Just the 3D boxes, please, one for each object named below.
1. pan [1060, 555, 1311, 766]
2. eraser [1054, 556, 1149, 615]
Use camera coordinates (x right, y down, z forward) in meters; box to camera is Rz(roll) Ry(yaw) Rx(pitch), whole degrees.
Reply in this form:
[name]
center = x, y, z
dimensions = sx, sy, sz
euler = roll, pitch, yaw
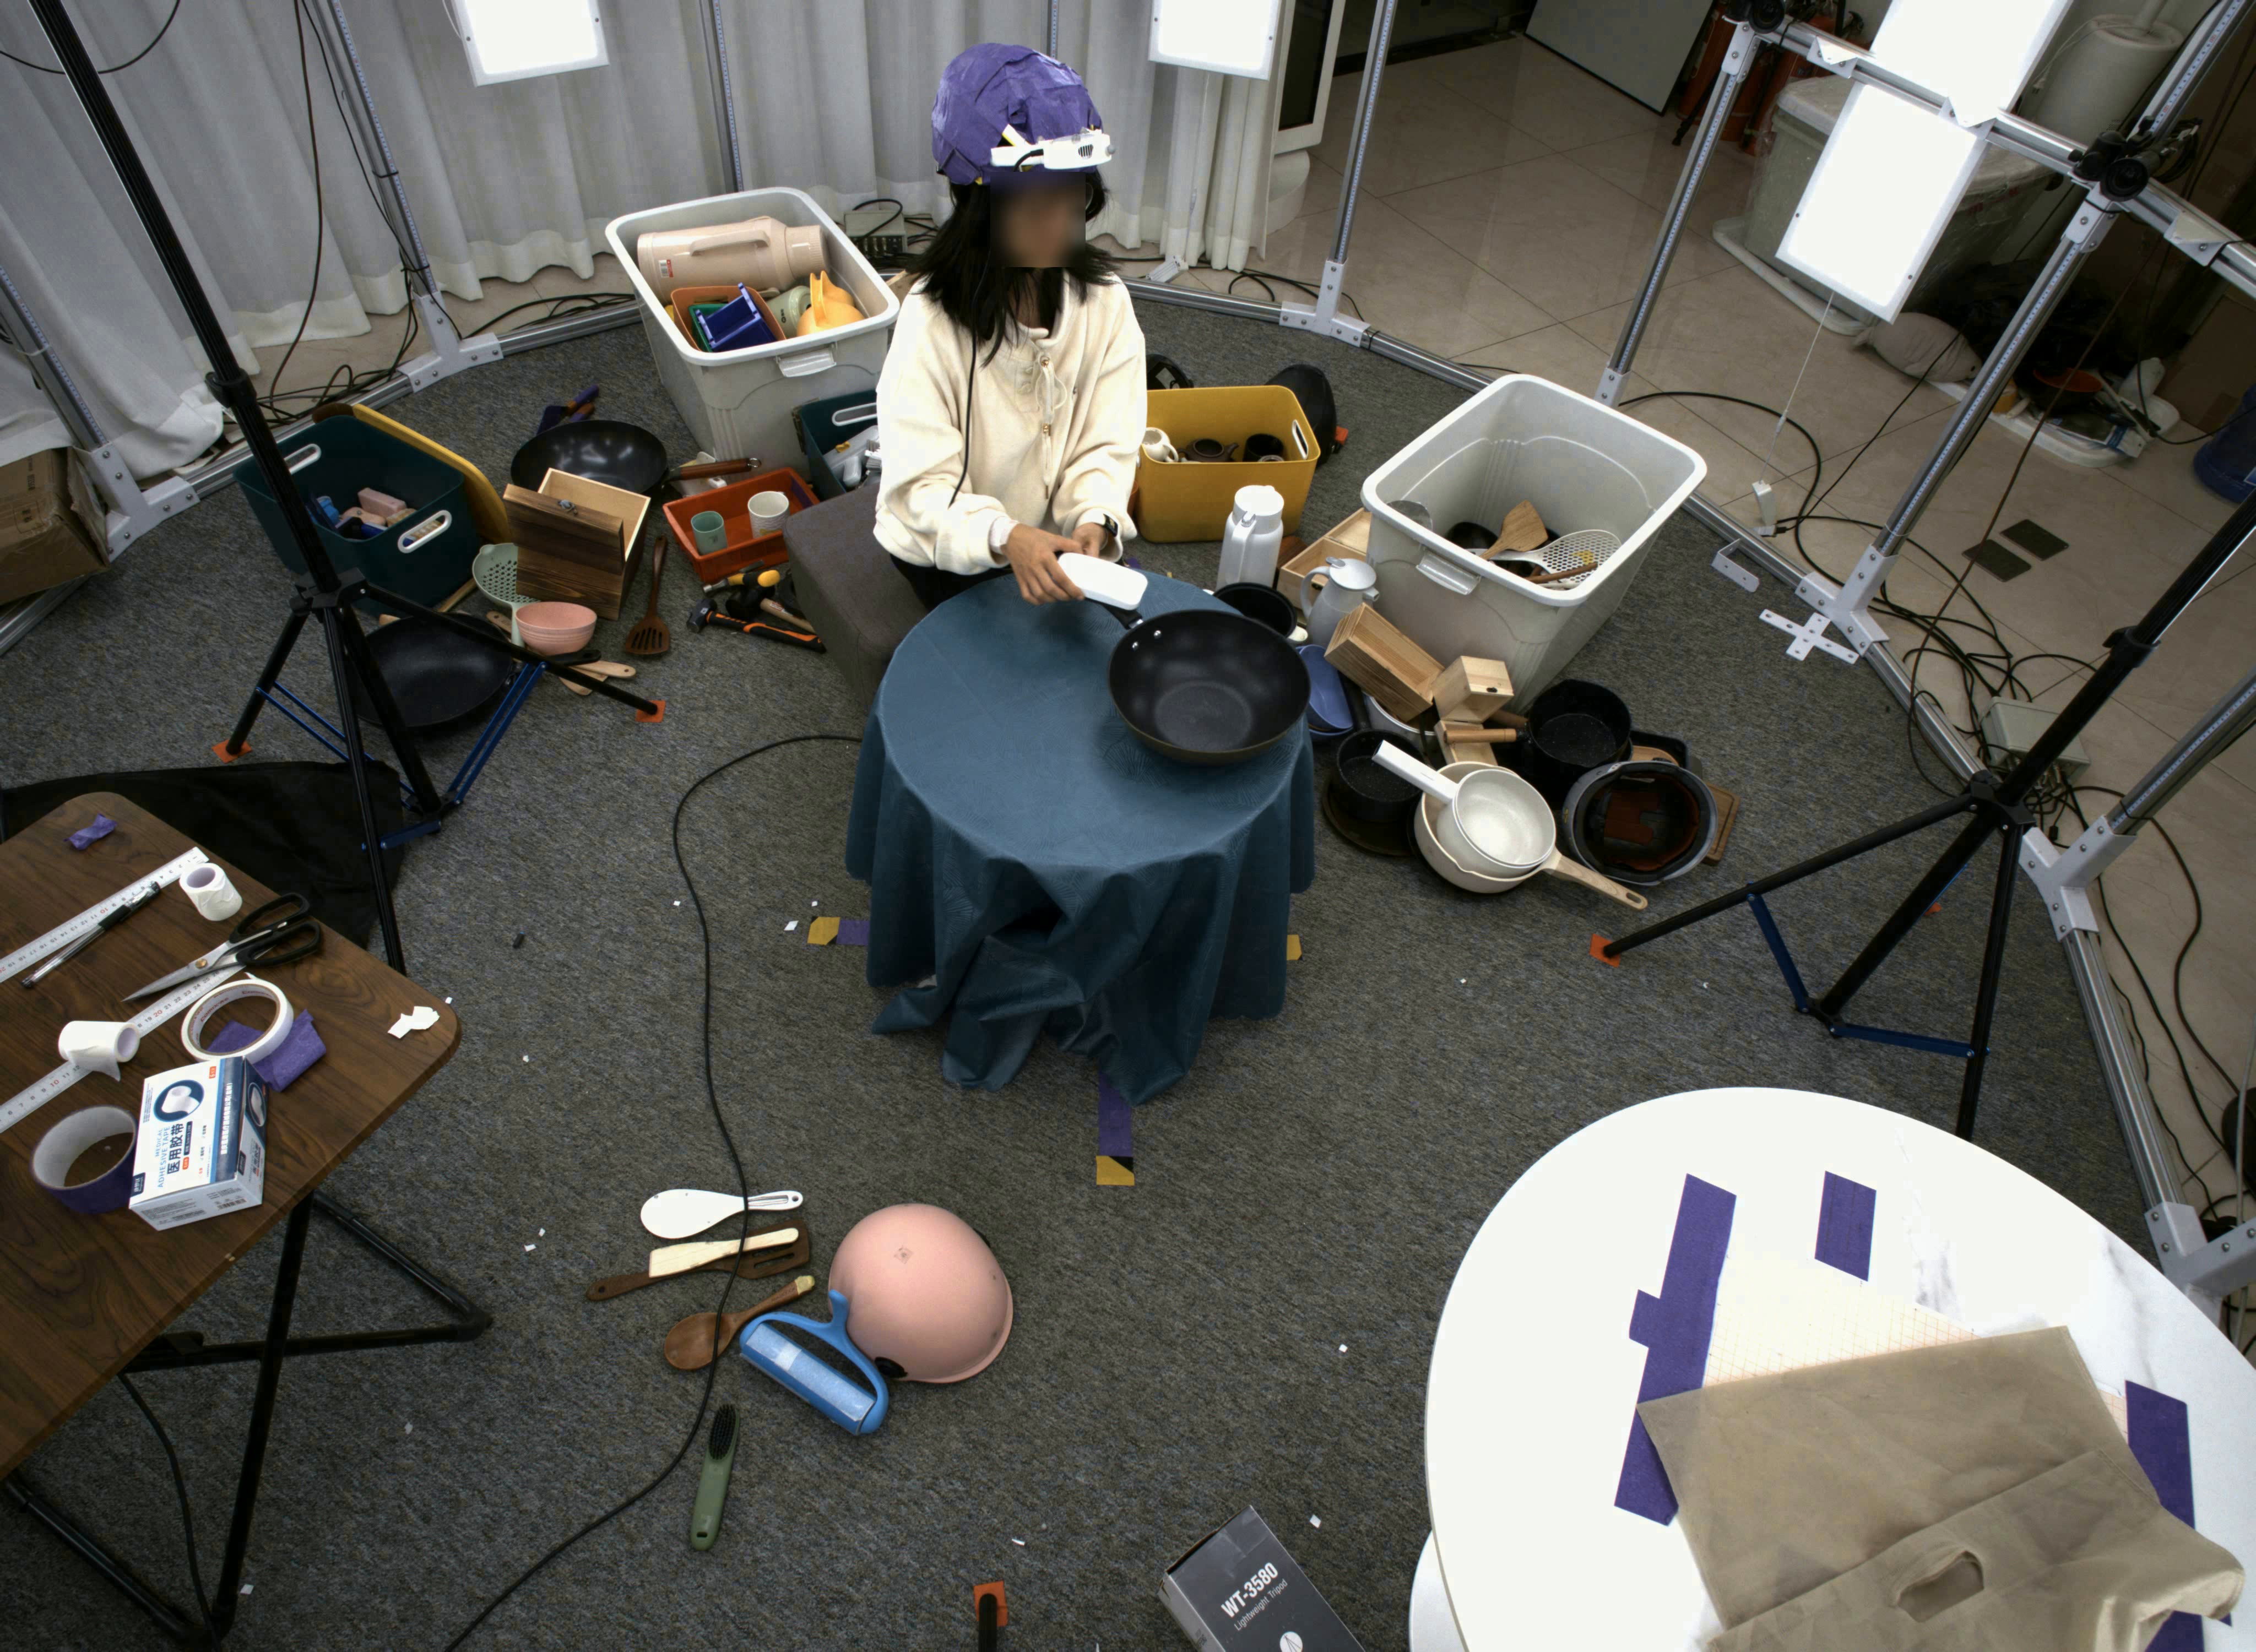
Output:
[pan]
center = 0.048, -0.233, 1.822
dimensions = 0.290, 0.085, 0.471
euler = -31, 57, -27
[eraser]
center = -0.038, -0.346, 1.833
dimensions = 0.131, 0.034, 0.064
euler = 18, 54, 7
